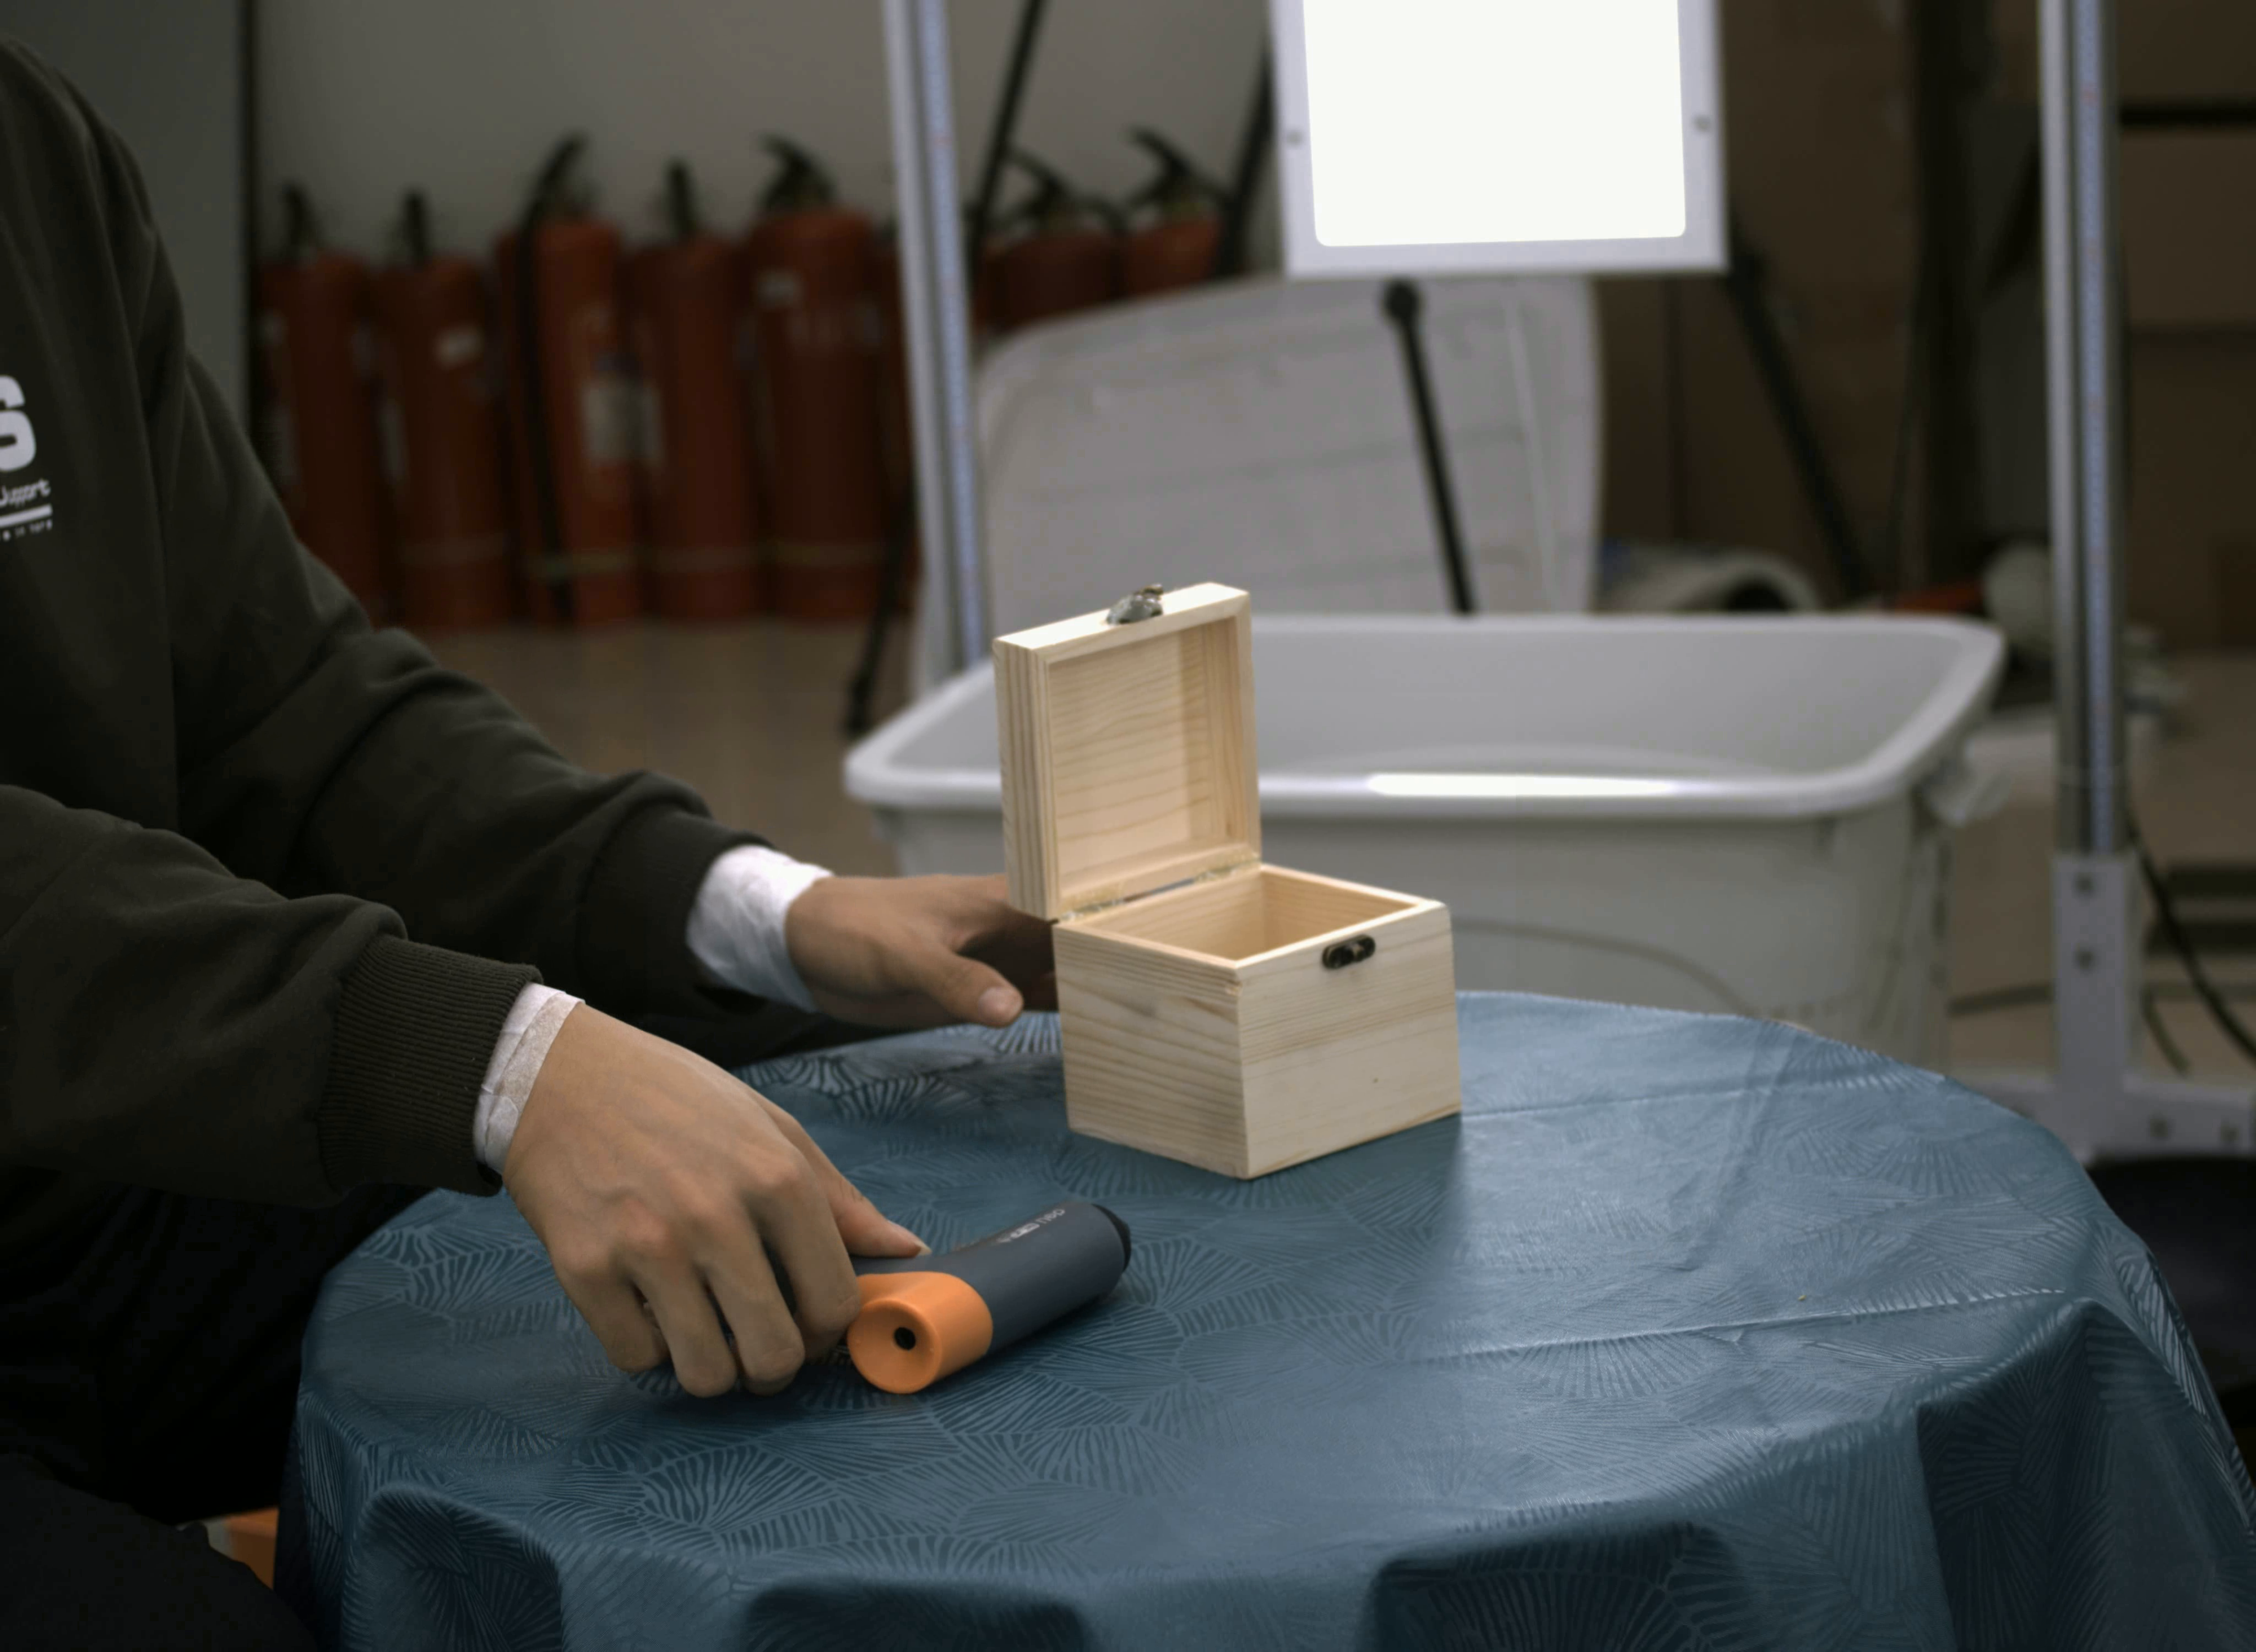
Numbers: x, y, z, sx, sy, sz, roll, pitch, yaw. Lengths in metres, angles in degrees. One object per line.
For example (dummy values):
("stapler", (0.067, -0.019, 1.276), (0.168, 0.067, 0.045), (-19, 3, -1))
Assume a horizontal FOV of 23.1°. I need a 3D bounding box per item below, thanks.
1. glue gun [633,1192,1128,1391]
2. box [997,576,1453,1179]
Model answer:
("glue gun", (-0.079, 0.147, 1.779), (0.142, 0.041, 0.116), (3, 13, 22))
("box", (0.036, 0.015, 1.949), (0.100, 0.185, 0.137), (-15, 18, -37))
